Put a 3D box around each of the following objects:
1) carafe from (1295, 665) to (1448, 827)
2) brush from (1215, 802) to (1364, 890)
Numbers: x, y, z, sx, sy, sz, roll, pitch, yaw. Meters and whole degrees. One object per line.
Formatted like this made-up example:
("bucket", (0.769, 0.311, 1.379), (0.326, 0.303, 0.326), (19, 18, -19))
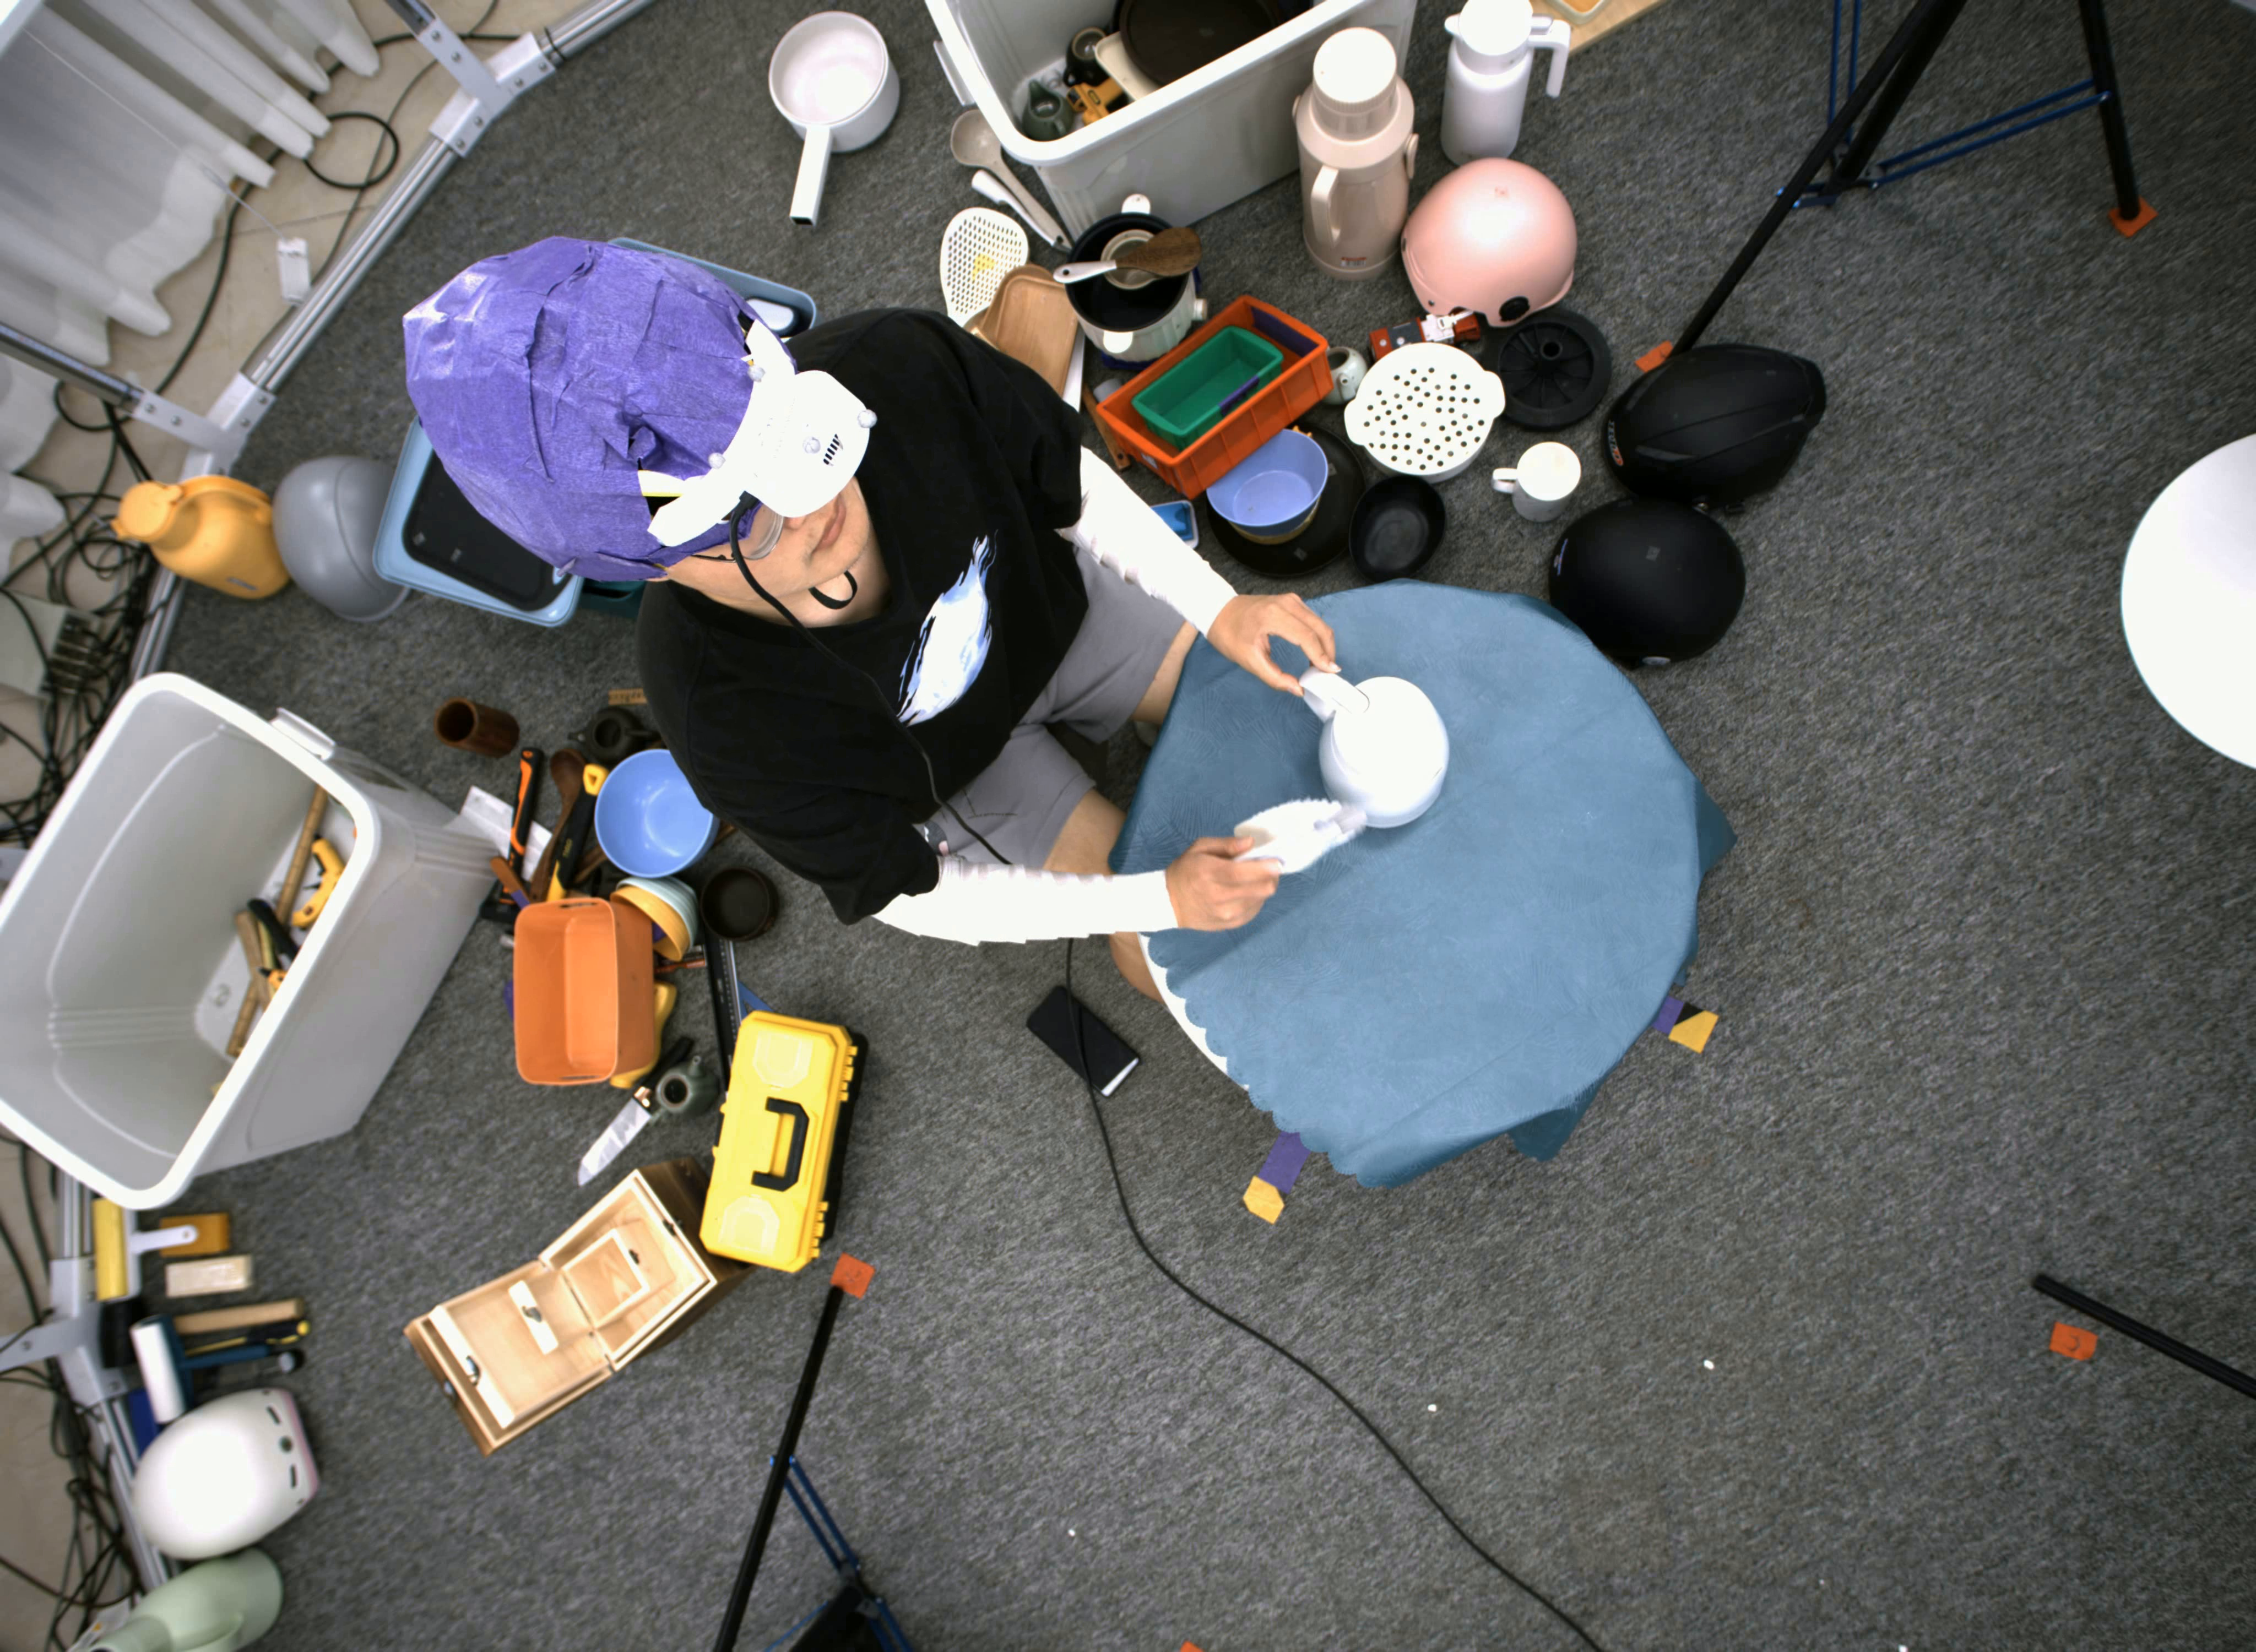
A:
("carafe", (0.234, -0.089, 1.347), (0.167, 0.249, 0.133), (40, 93, 11))
("brush", (0.144, 0.021, 1.305), (0.092, 0.177, 0.062), (-39, 102, -26))
